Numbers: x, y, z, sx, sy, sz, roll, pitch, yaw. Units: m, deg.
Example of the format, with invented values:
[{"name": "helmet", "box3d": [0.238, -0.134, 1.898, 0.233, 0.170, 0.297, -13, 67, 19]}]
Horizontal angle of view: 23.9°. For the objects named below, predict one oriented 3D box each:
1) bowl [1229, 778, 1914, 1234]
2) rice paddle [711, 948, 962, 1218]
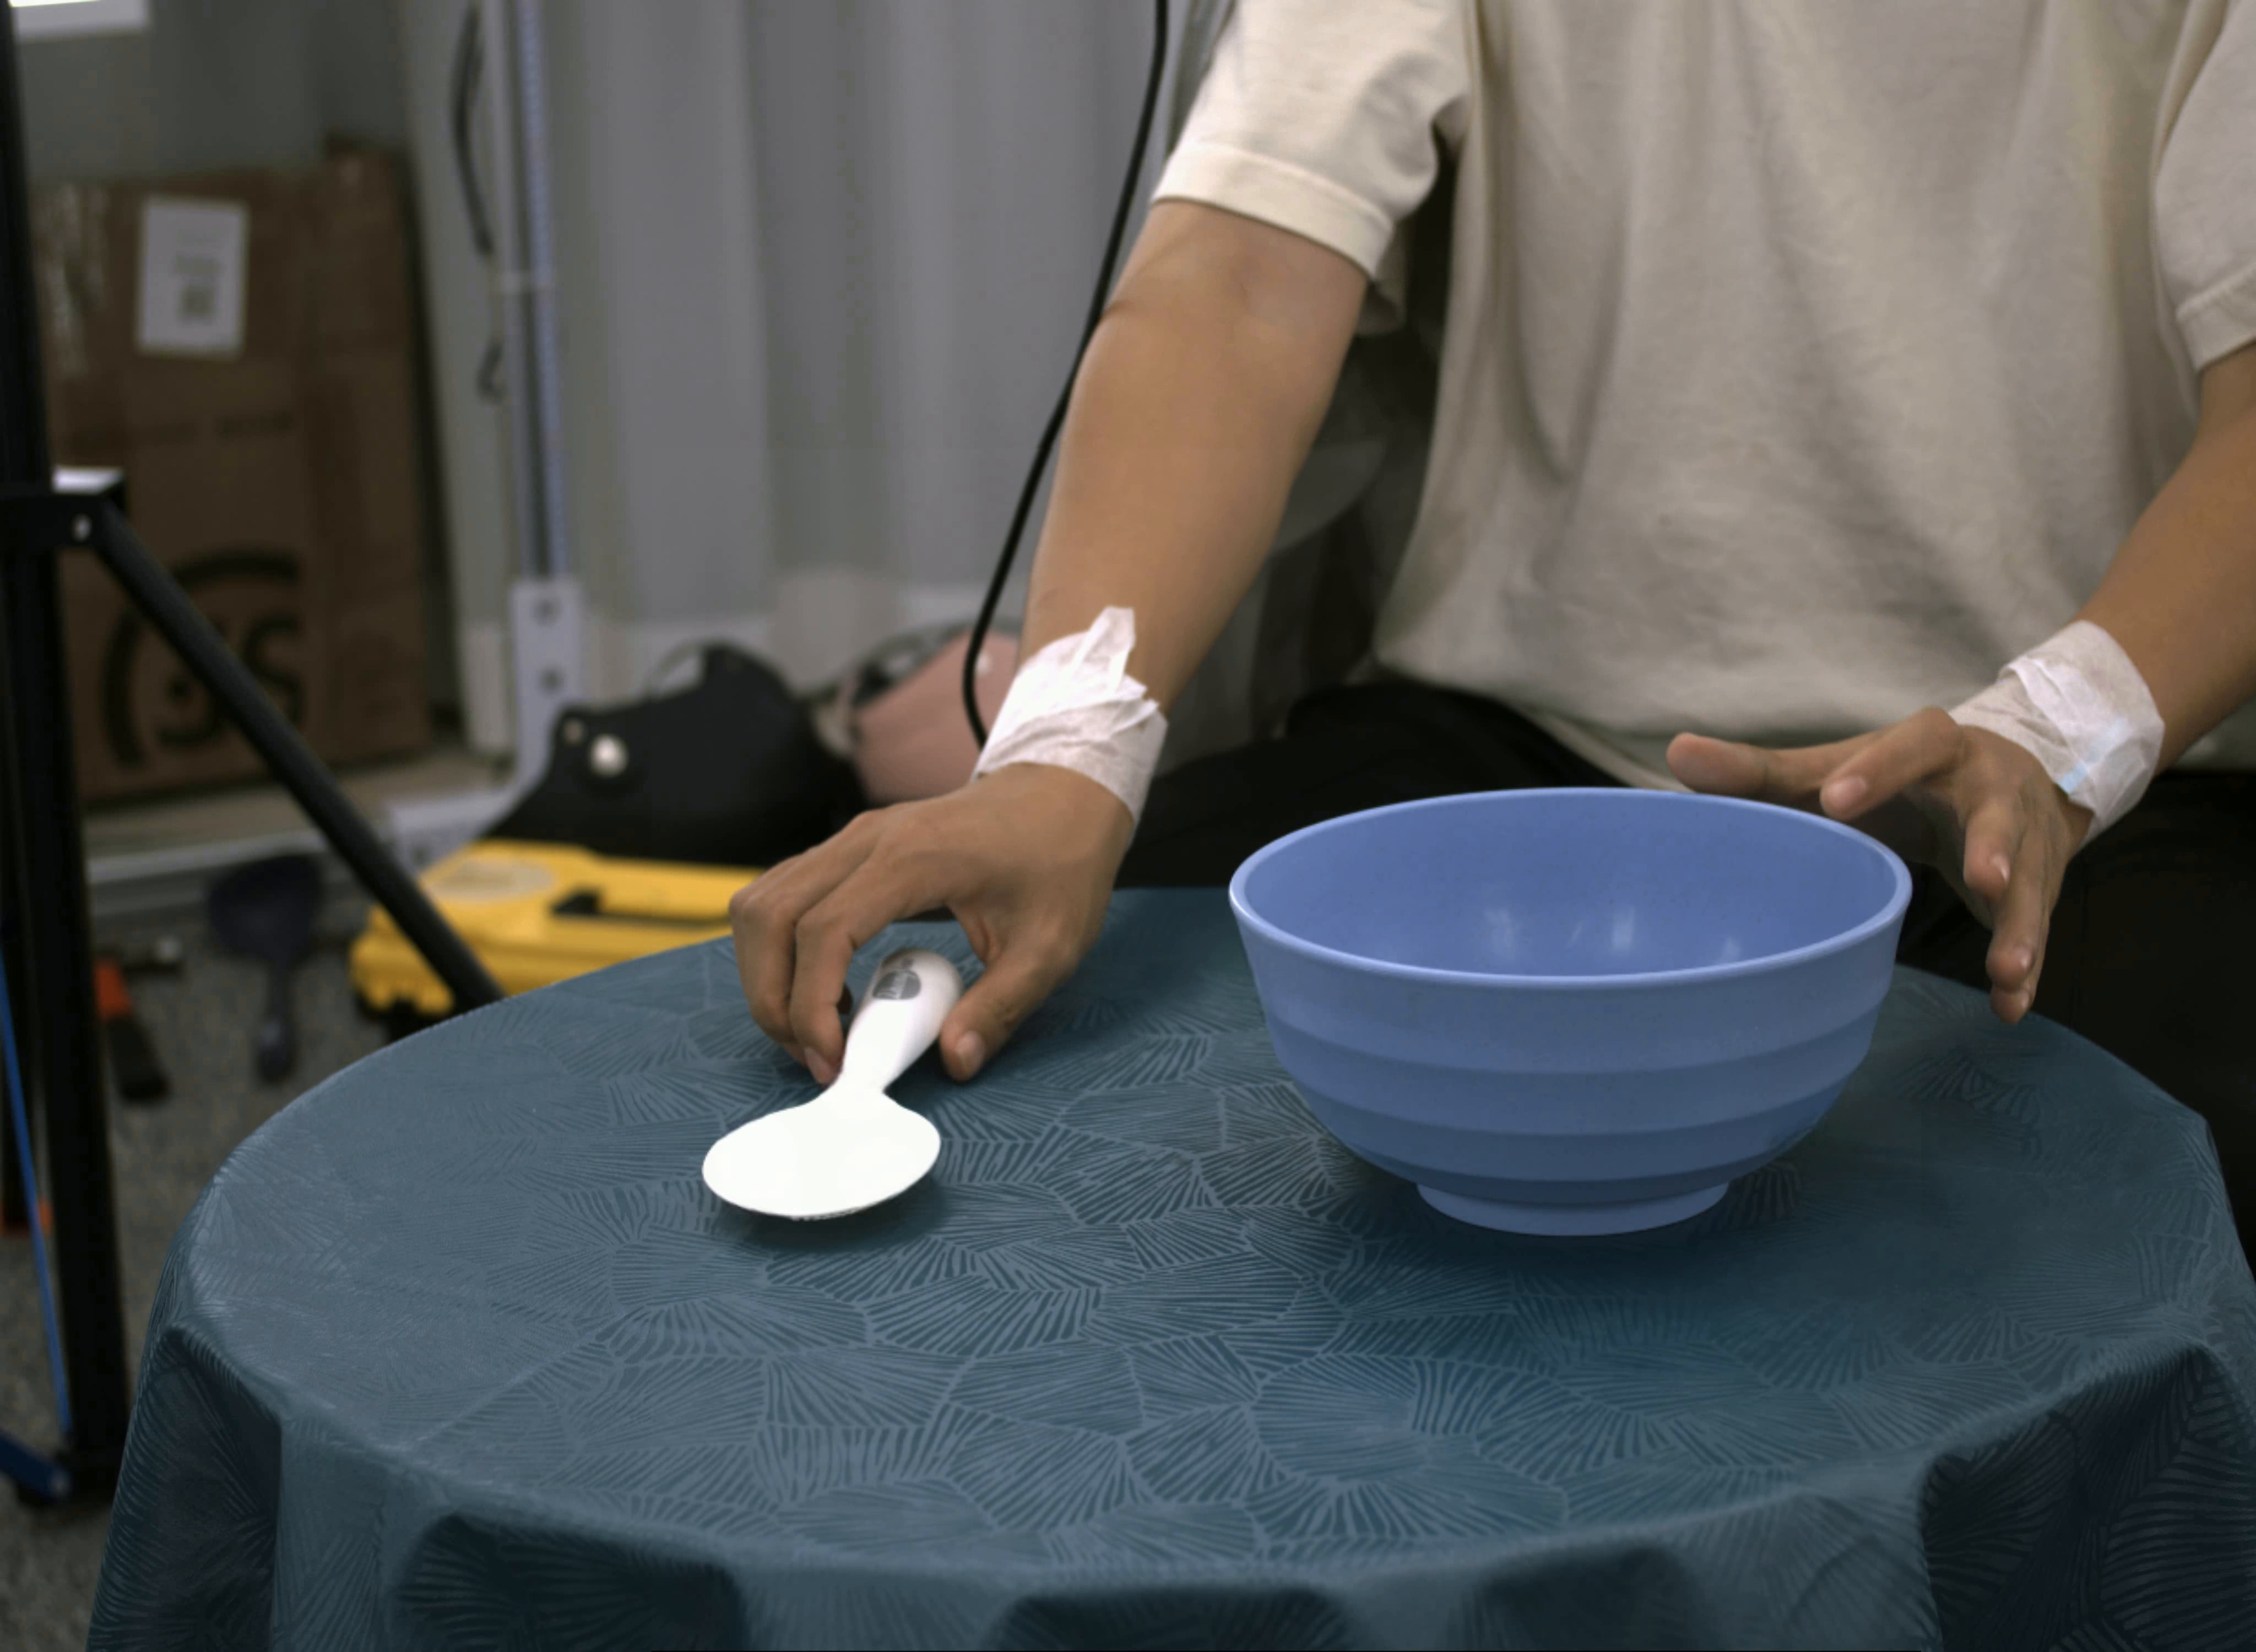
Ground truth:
[{"name": "bowl", "box3d": [0.129, 0.058, 1.533, 0.195, 0.095, 0.197, -4, 17, 0]}, {"name": "rice paddle", "box3d": [-0.080, 0.080, 1.613, 0.069, 0.029, 0.205, -2, 15, 8]}]
